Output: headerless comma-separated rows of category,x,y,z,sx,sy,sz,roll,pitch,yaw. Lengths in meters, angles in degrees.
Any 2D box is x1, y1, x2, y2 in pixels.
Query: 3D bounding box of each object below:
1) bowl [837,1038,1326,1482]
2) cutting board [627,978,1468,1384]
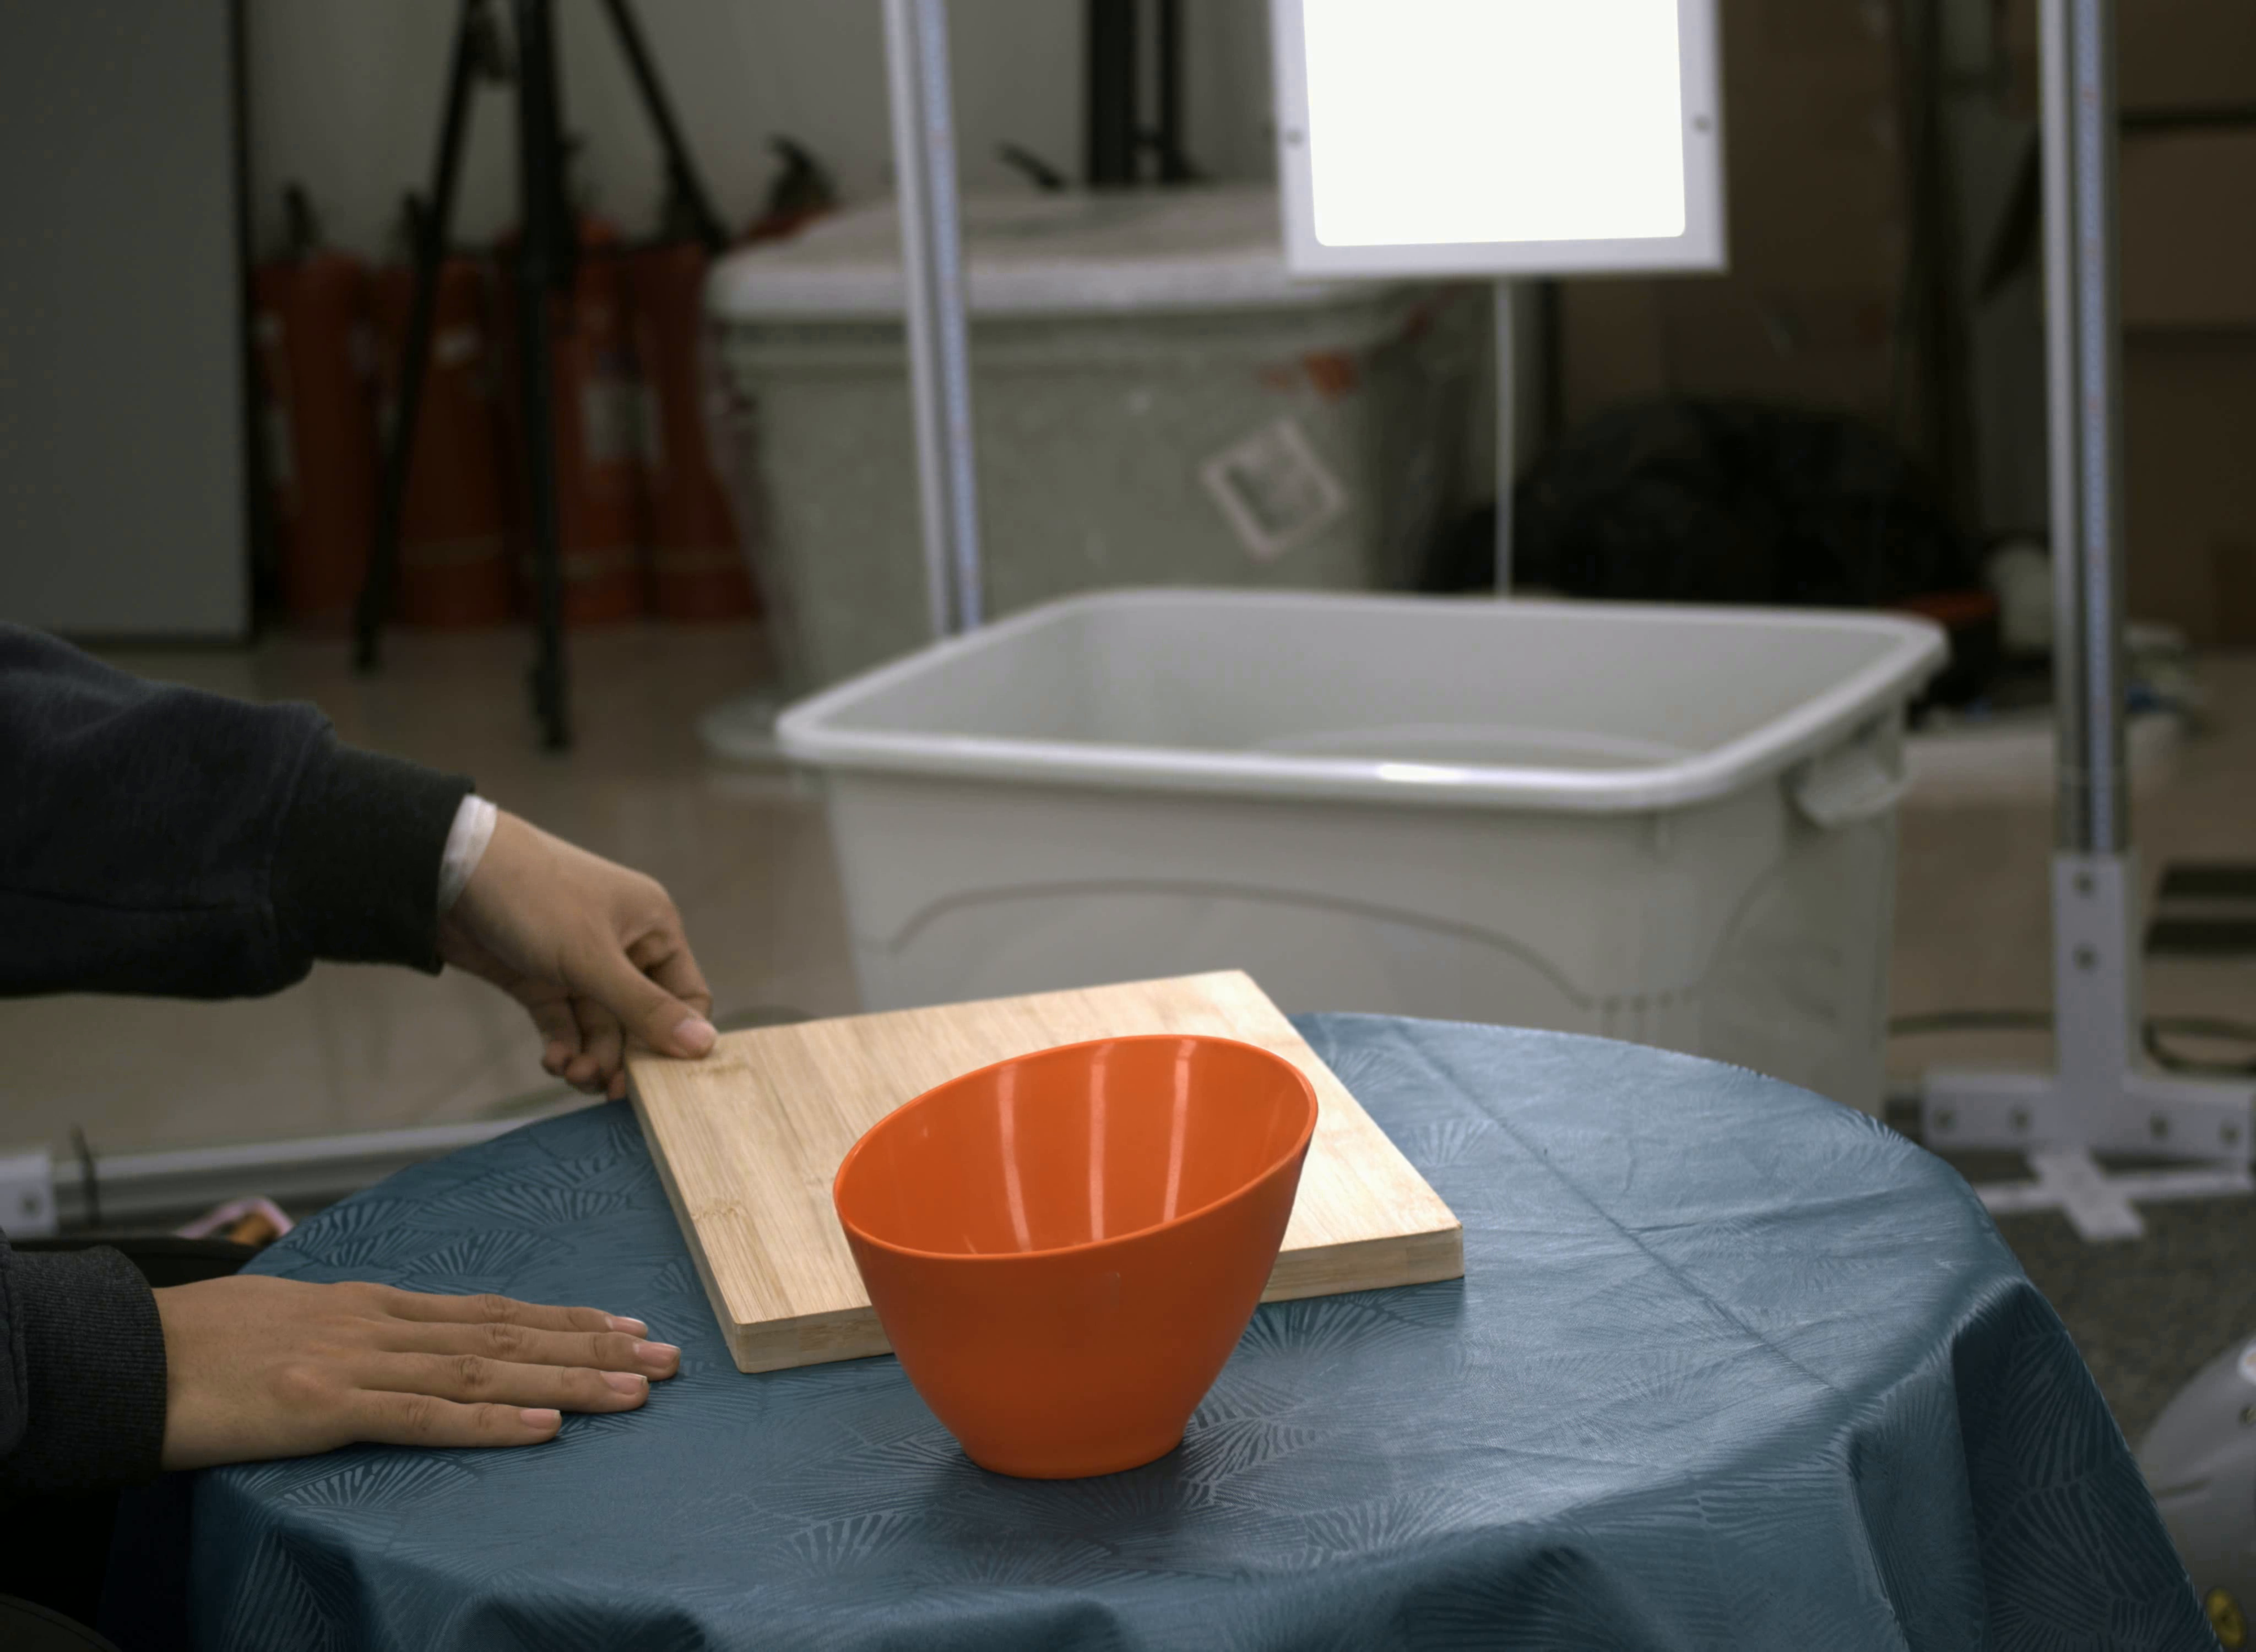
bowl,-0.012,0.134,1.656,0.147,0.105,0.148,-4,15,0
cutting board,-0.039,0.117,1.917,0.248,0.023,0.351,-8,14,-9
